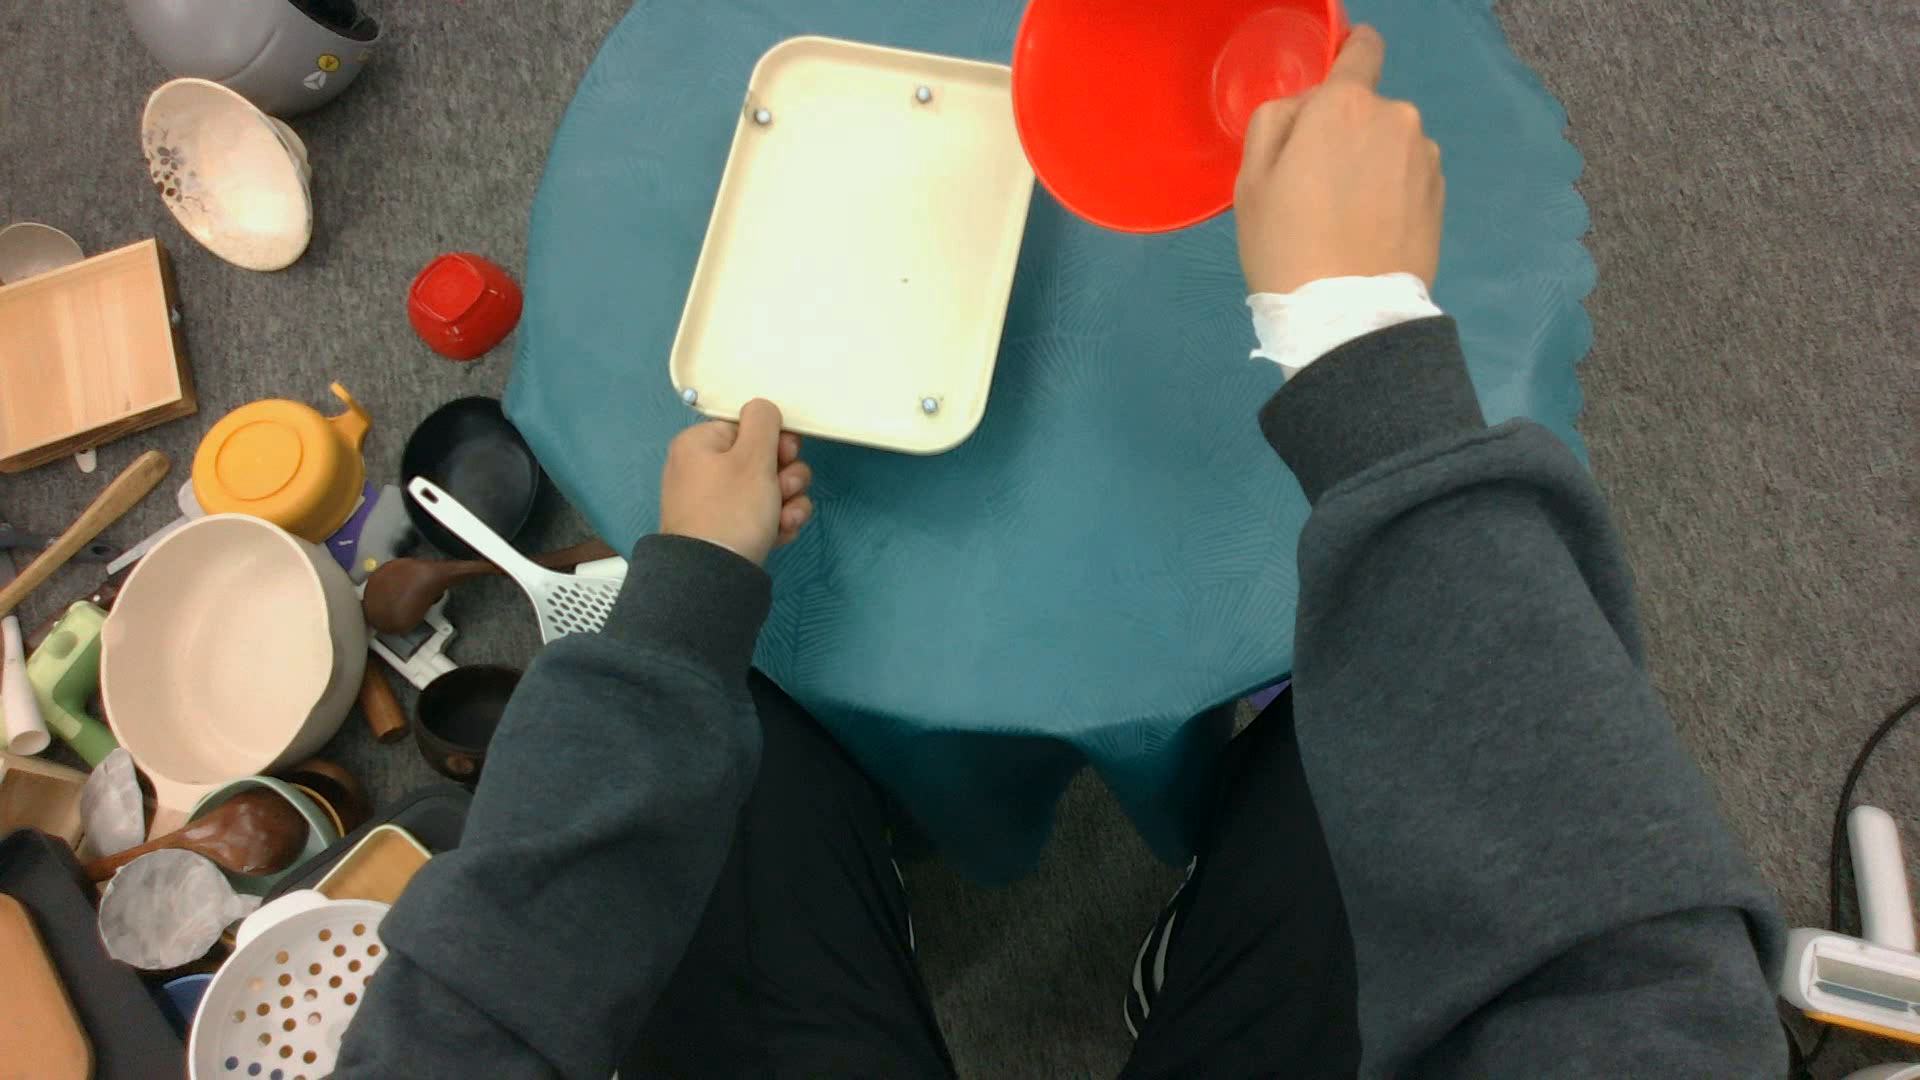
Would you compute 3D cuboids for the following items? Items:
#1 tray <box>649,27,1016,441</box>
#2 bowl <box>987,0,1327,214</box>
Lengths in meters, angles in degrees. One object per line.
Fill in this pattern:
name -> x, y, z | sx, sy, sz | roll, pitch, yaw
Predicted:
tray -> -0.063, -0.170, 0.752 | 0.171, 0.017, 0.240 | 10, 71, 4
bowl -> 0.102, -0.223, 0.633 | 0.148, 0.105, 0.148 | 8, 102, 40
